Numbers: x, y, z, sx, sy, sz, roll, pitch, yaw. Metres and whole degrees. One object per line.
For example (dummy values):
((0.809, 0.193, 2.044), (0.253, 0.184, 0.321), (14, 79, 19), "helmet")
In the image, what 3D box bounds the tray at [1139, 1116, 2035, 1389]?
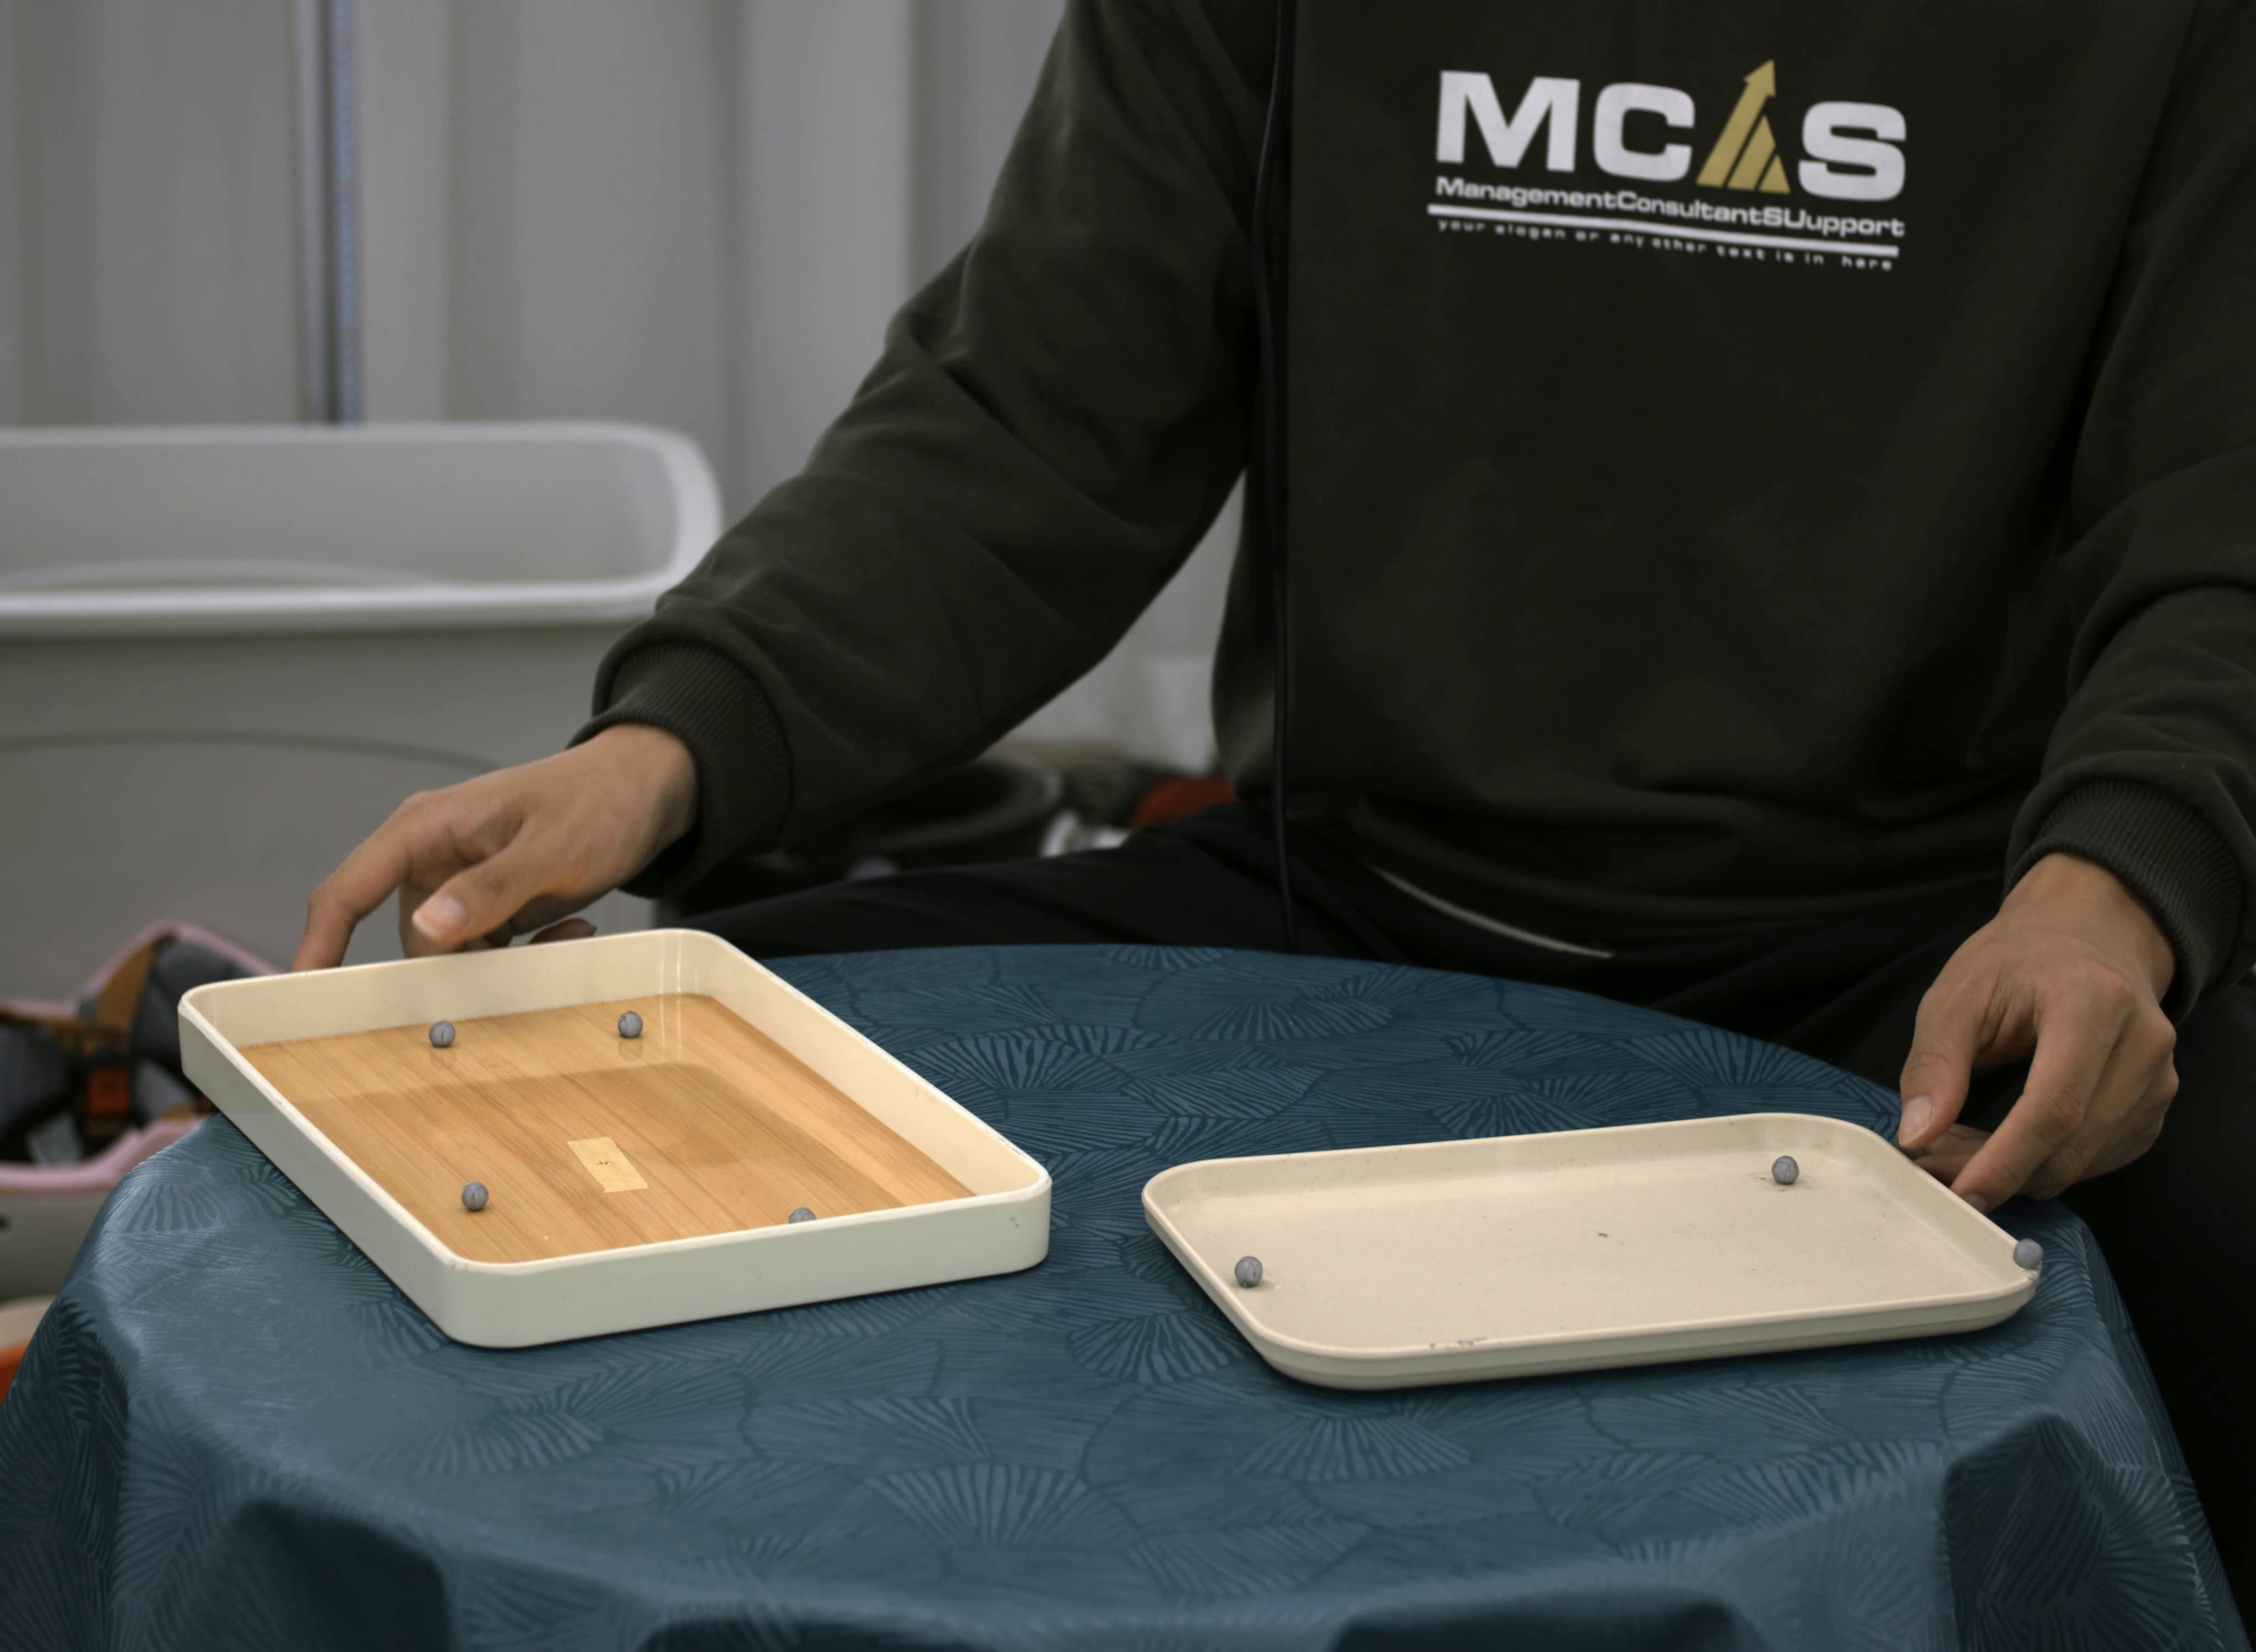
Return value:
((0.133, 0.126, 1.559), (0.240, 0.017, 0.169), (-4, 15, -17), "tray")

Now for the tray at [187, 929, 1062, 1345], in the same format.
((-0.164, 0.092, 1.644), (0.192, 0.027, 0.296), (-6, 17, -26), "tray")
